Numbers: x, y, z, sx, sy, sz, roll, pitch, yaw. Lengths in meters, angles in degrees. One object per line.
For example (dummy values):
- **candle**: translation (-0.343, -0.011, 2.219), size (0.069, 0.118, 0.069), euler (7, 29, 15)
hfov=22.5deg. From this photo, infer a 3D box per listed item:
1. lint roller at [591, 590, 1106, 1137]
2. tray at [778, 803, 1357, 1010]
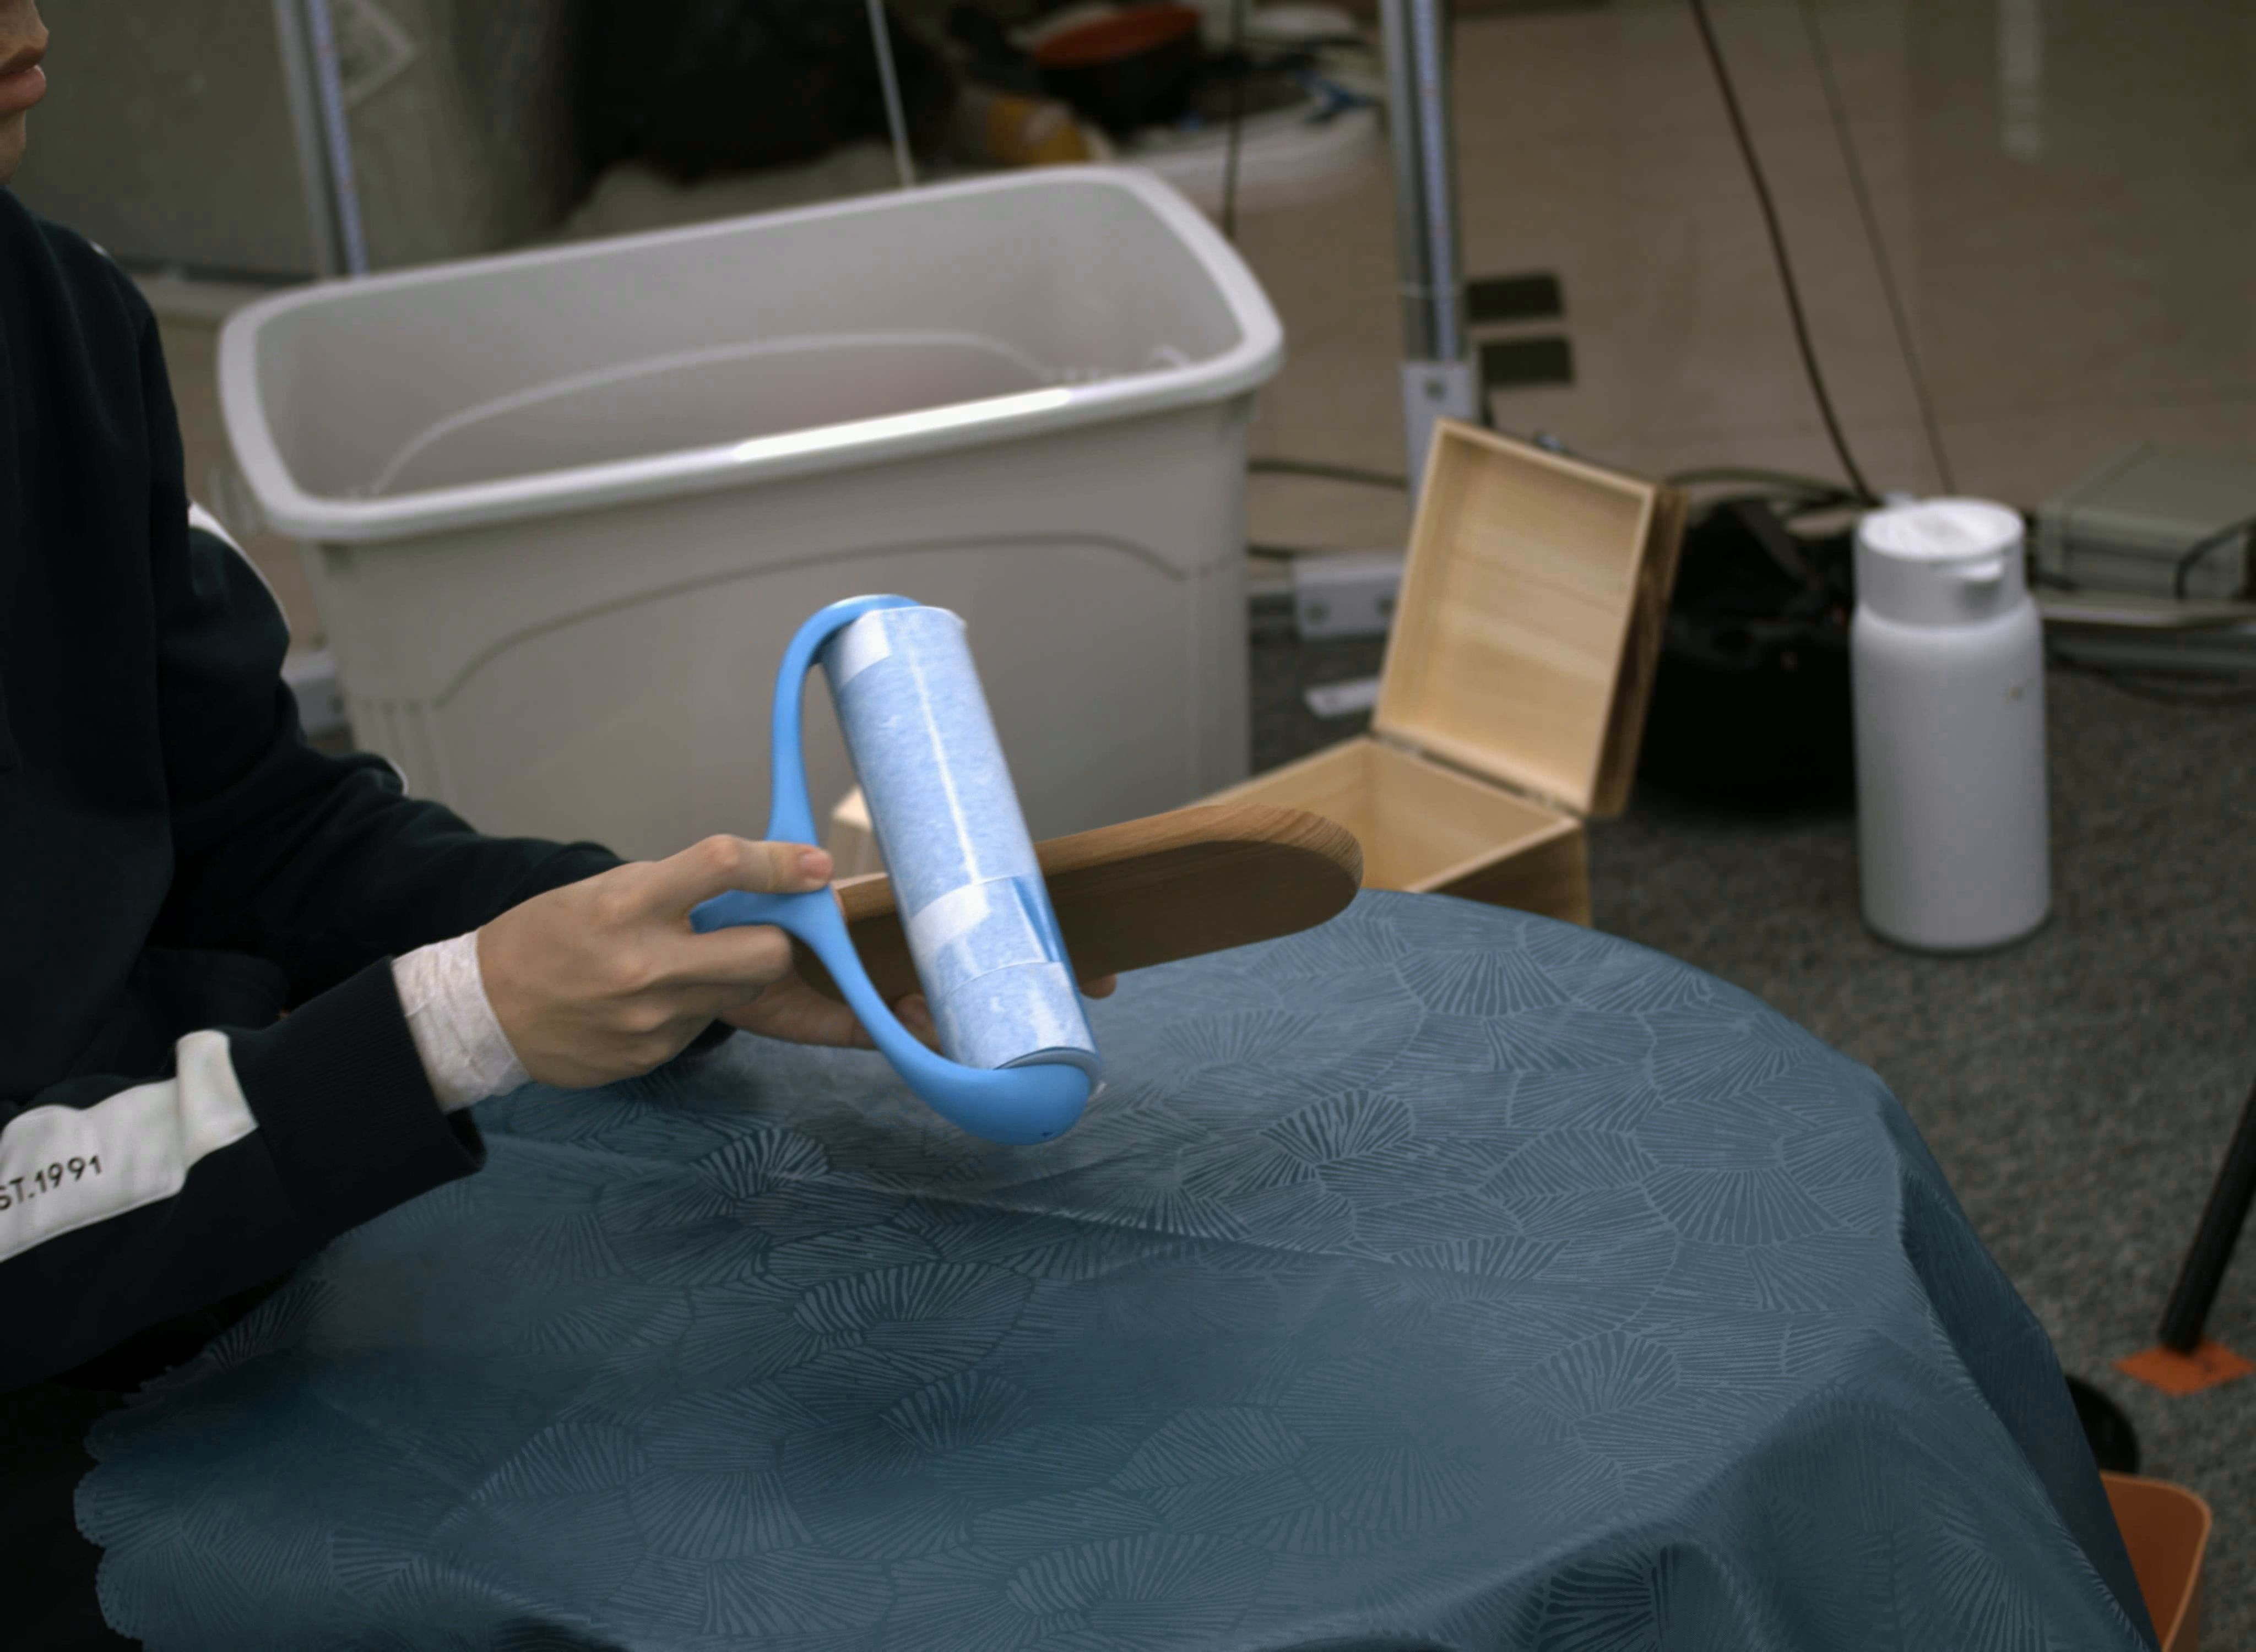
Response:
- **lint roller**: translation (-0.117, 0.035, 2.043), size (0.180, 0.069, 0.226), euler (-24, 64, 2)
- **tray**: translation (-0.024, 0.033, 2.151), size (0.231, 0.103, 0.020), euler (-14, 62, 19)
